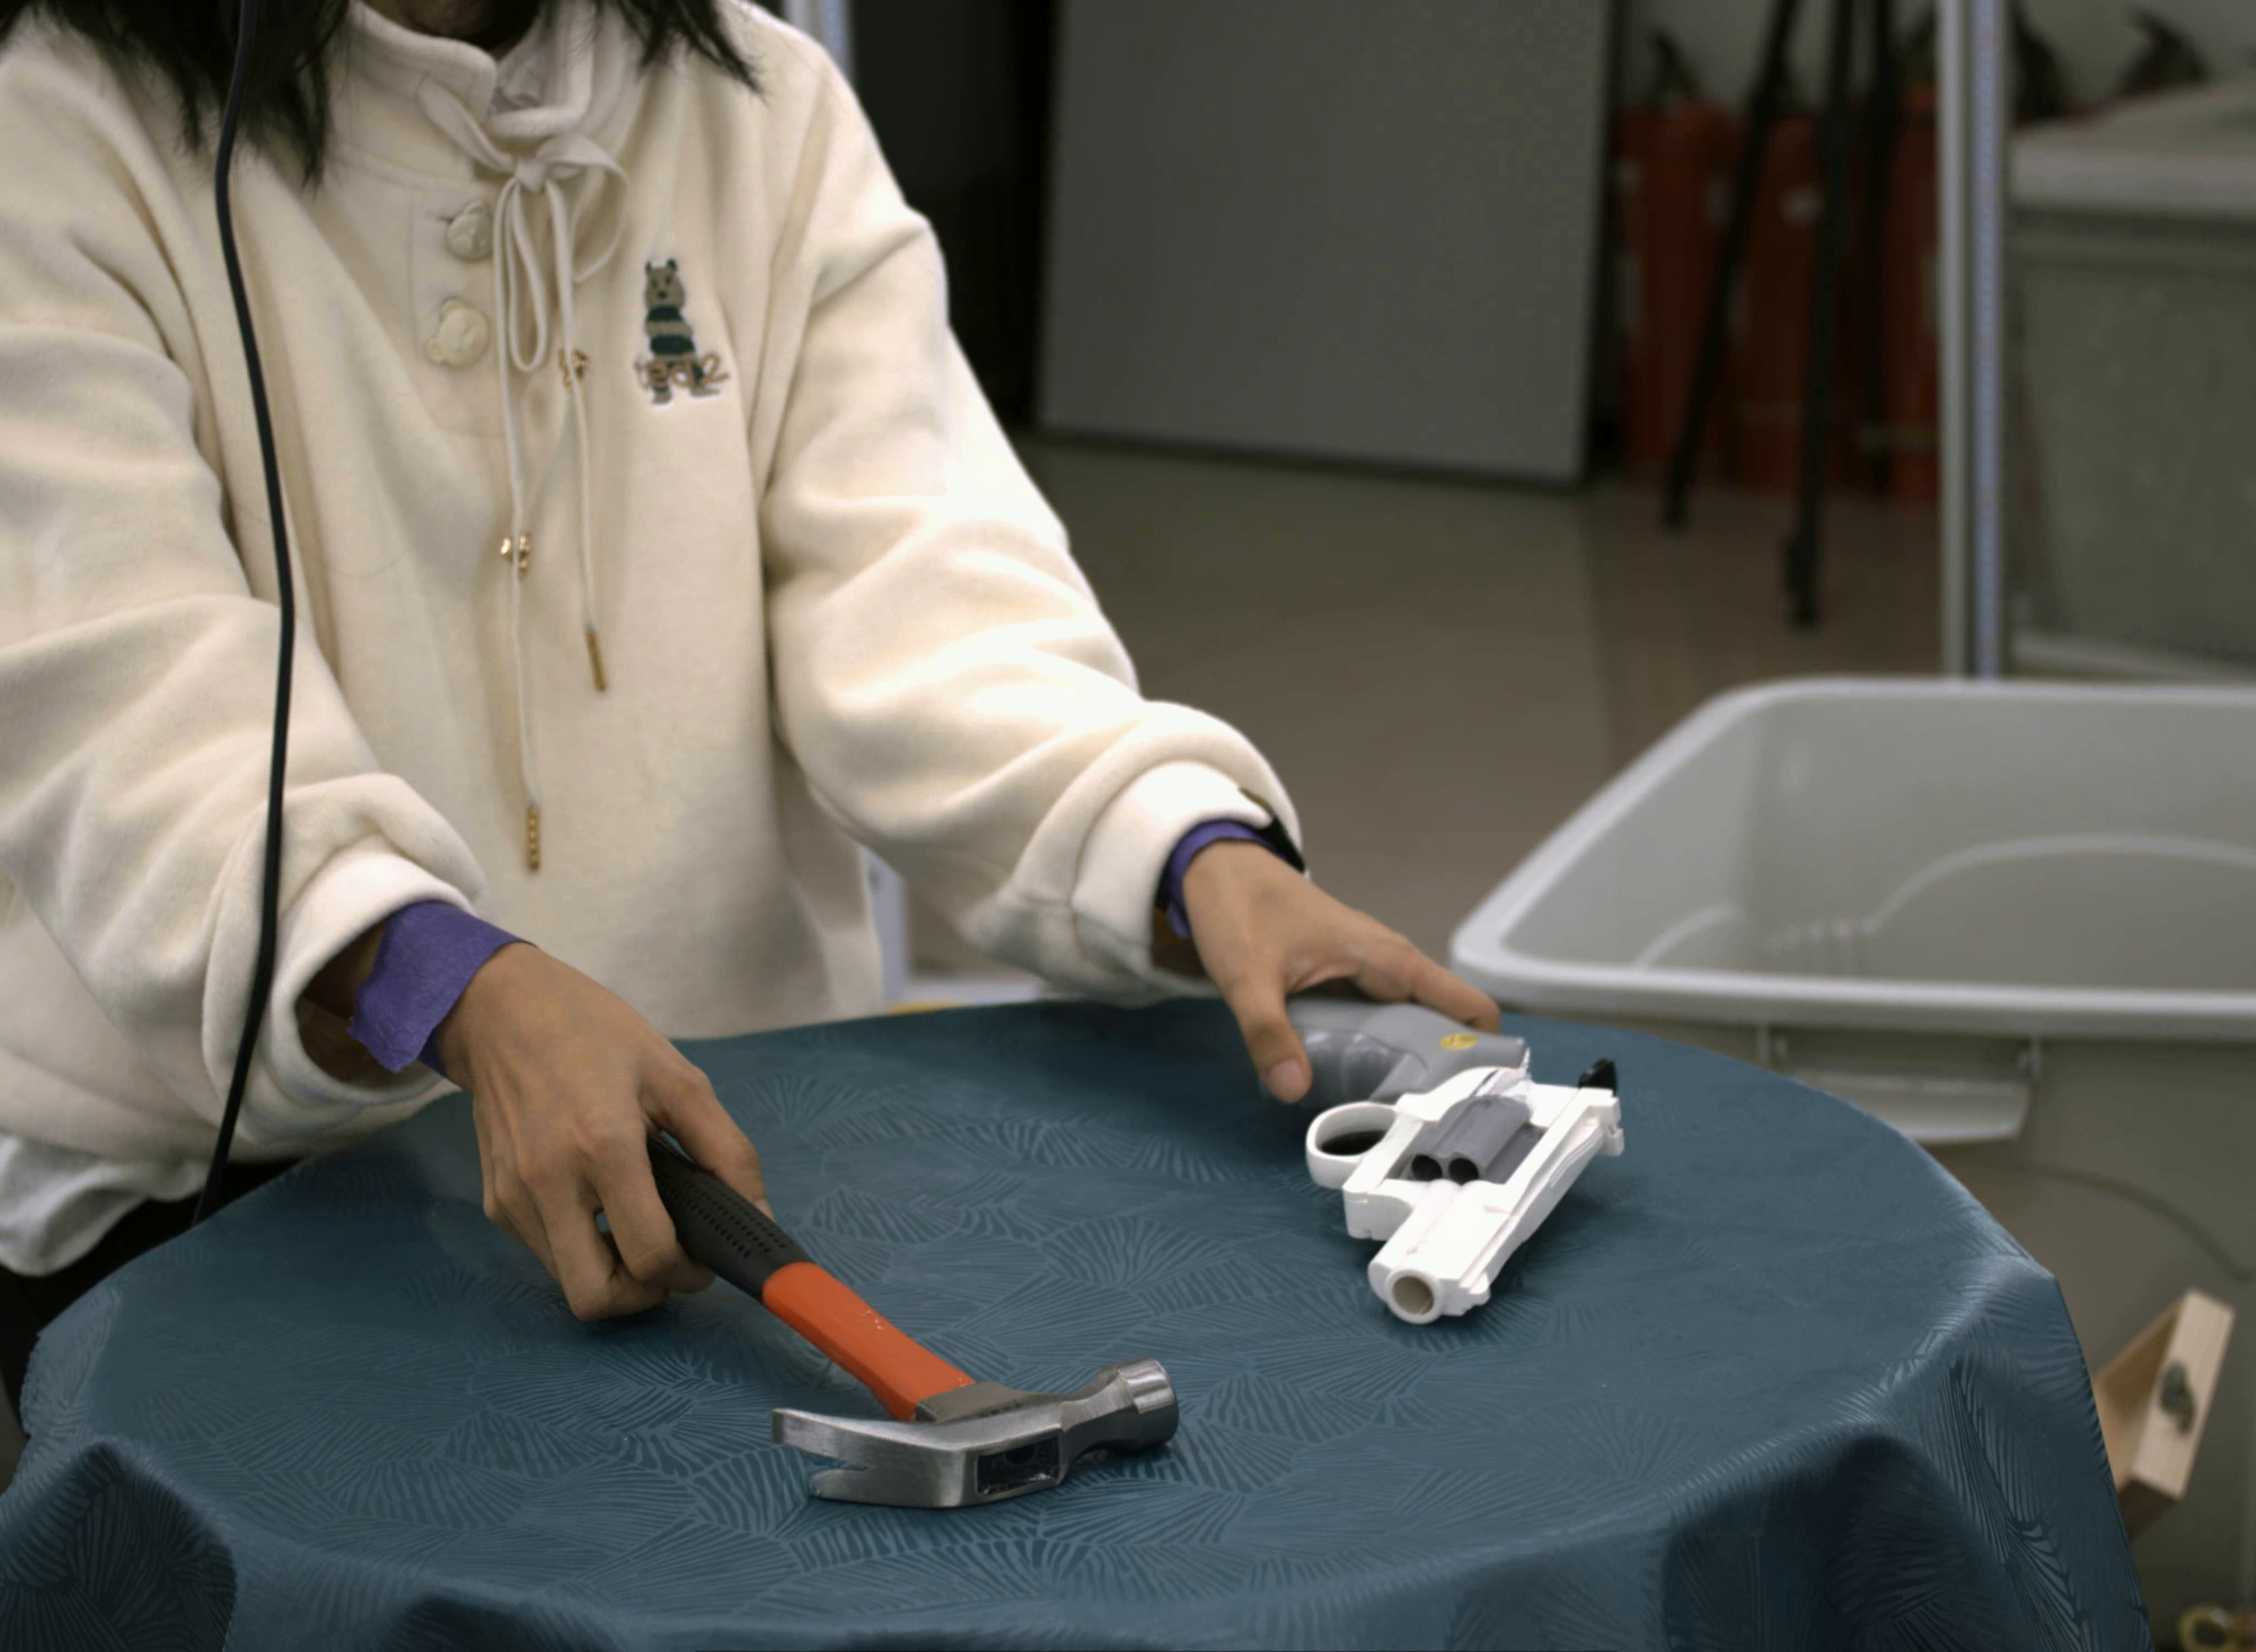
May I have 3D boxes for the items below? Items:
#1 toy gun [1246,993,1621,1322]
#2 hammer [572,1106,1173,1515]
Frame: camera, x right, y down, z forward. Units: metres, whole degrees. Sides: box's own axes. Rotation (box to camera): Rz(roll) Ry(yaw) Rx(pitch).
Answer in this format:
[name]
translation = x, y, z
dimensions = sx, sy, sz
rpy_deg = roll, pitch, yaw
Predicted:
[toy gun]
translation = 0.084, 0.103, 1.724
dimensions = 0.141, 0.039, 0.207
rpy_deg = 1, 20, 22
[hammer]
translation = -0.099, 0.138, 1.618
dimensions = 0.109, 0.026, 0.280
rpy_deg = -23, 25, -22
